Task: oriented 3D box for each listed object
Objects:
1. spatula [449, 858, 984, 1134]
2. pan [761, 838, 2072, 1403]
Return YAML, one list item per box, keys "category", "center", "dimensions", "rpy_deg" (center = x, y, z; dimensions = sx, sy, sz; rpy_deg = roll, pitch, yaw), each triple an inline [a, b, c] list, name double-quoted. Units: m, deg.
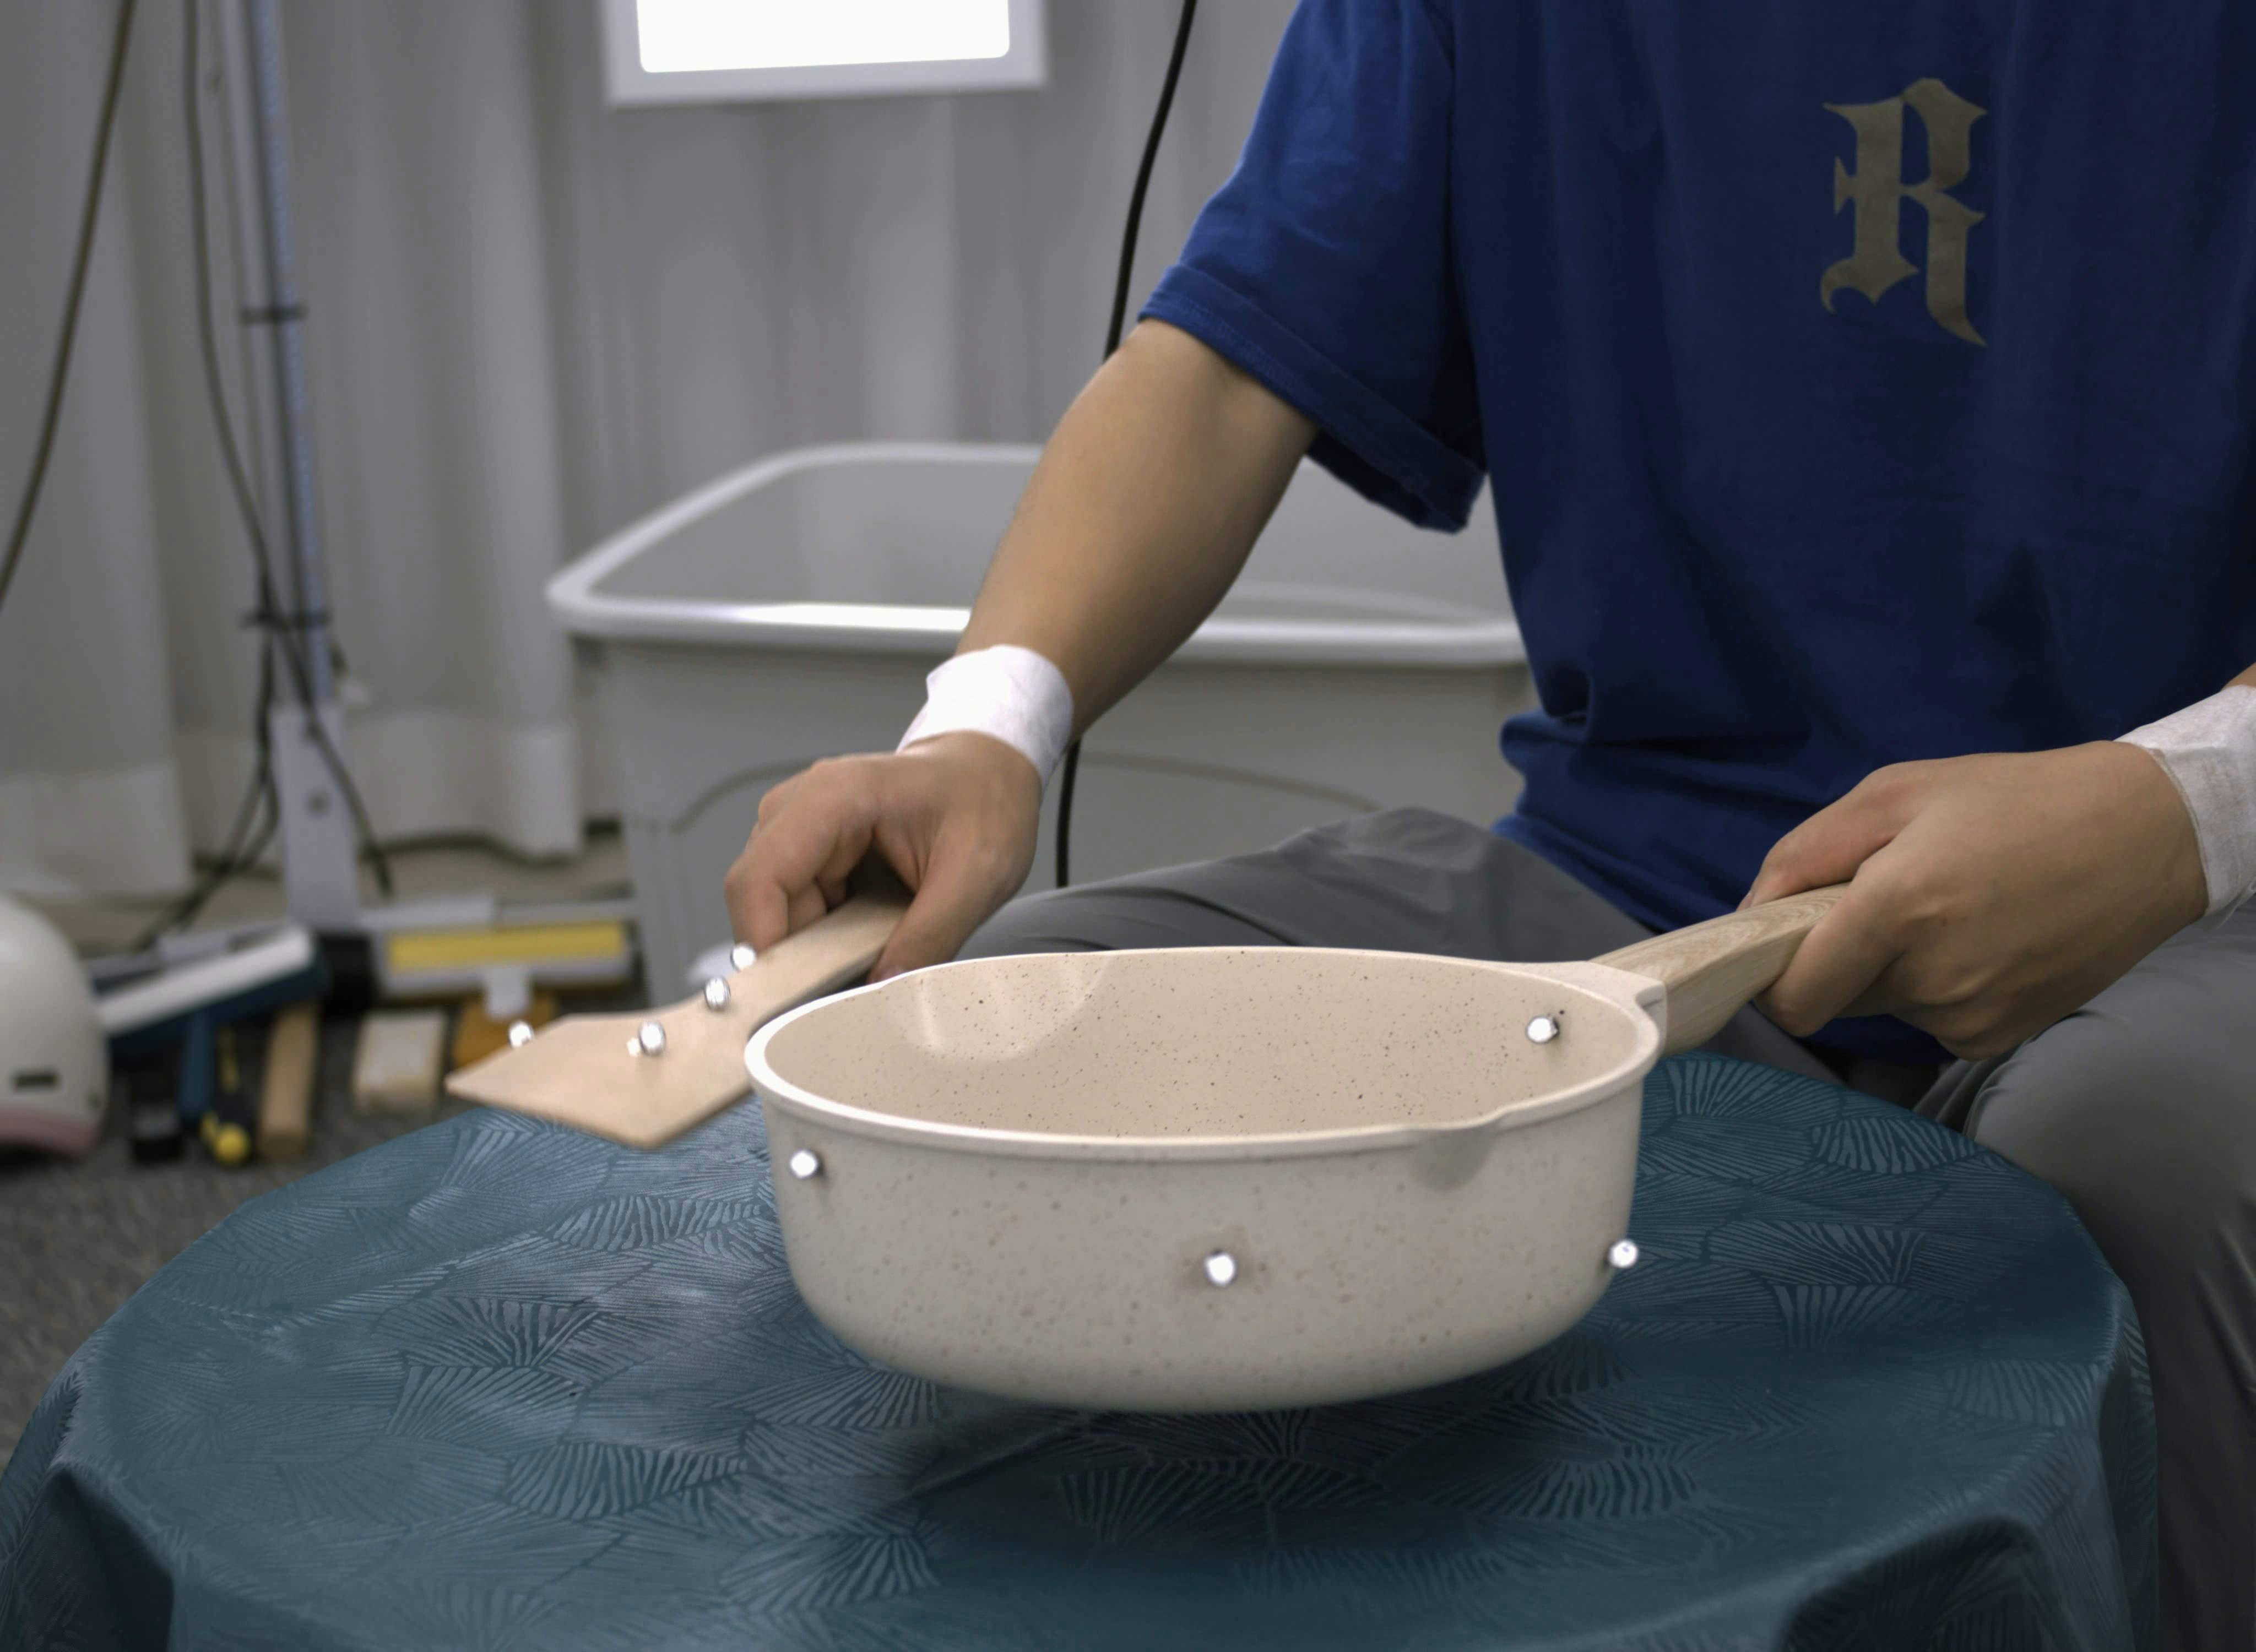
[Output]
- category: "spatula"
  center: [-0.115, 0.048, 1.709]
  dimensions: [0.072, 0.010, 0.293]
  rpy_deg: [13, 18, 19]
- category: "pan"
  center: [0.103, 0.078, 1.544]
  dimensions: [0.433, 0.102, 0.265]
  rpy_deg: [-7, 10, -32]
